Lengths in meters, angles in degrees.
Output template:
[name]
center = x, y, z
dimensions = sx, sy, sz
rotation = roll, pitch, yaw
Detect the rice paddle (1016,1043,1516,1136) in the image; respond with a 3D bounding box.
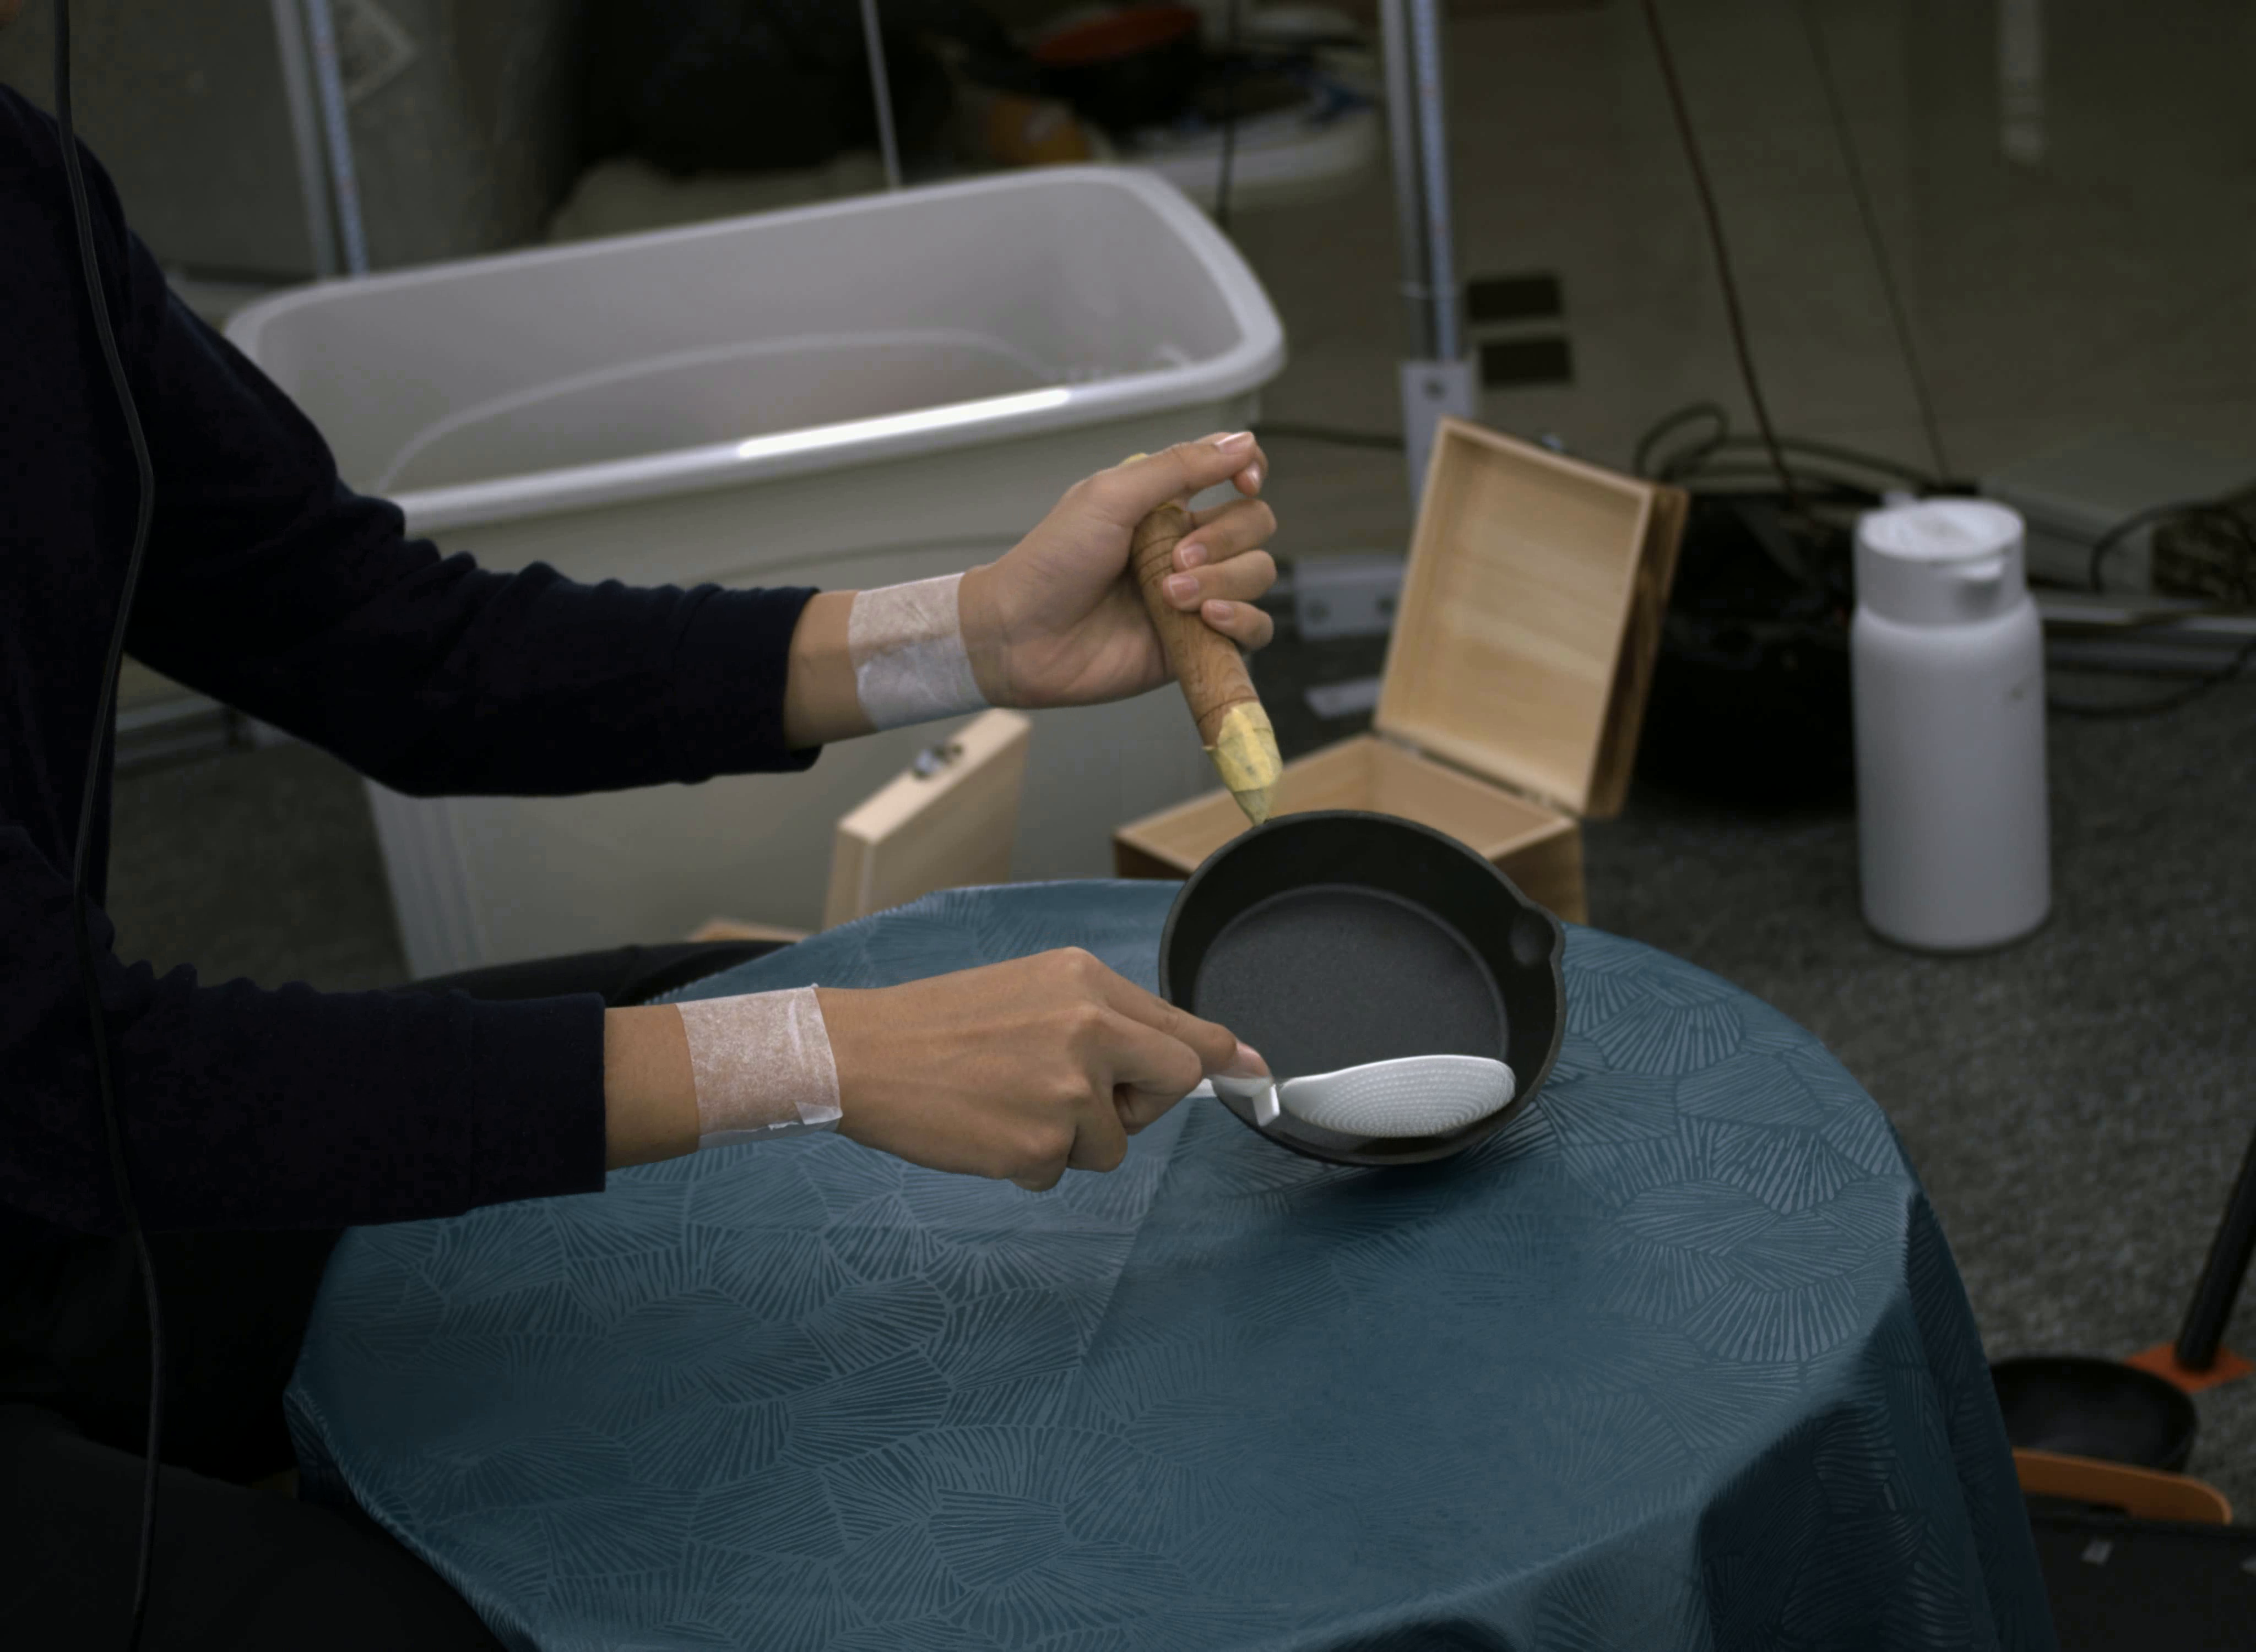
[rice paddle]
center = 0.054, 0.097, 2.089
dimensions = 0.205, 0.029, 0.069
rotation = 3, -25, -31

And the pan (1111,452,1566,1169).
[pan]
center = 0.059, -0.005, 2.193
dimensions = 0.168, 0.050, 0.320
rotation = -14, 64, -17
